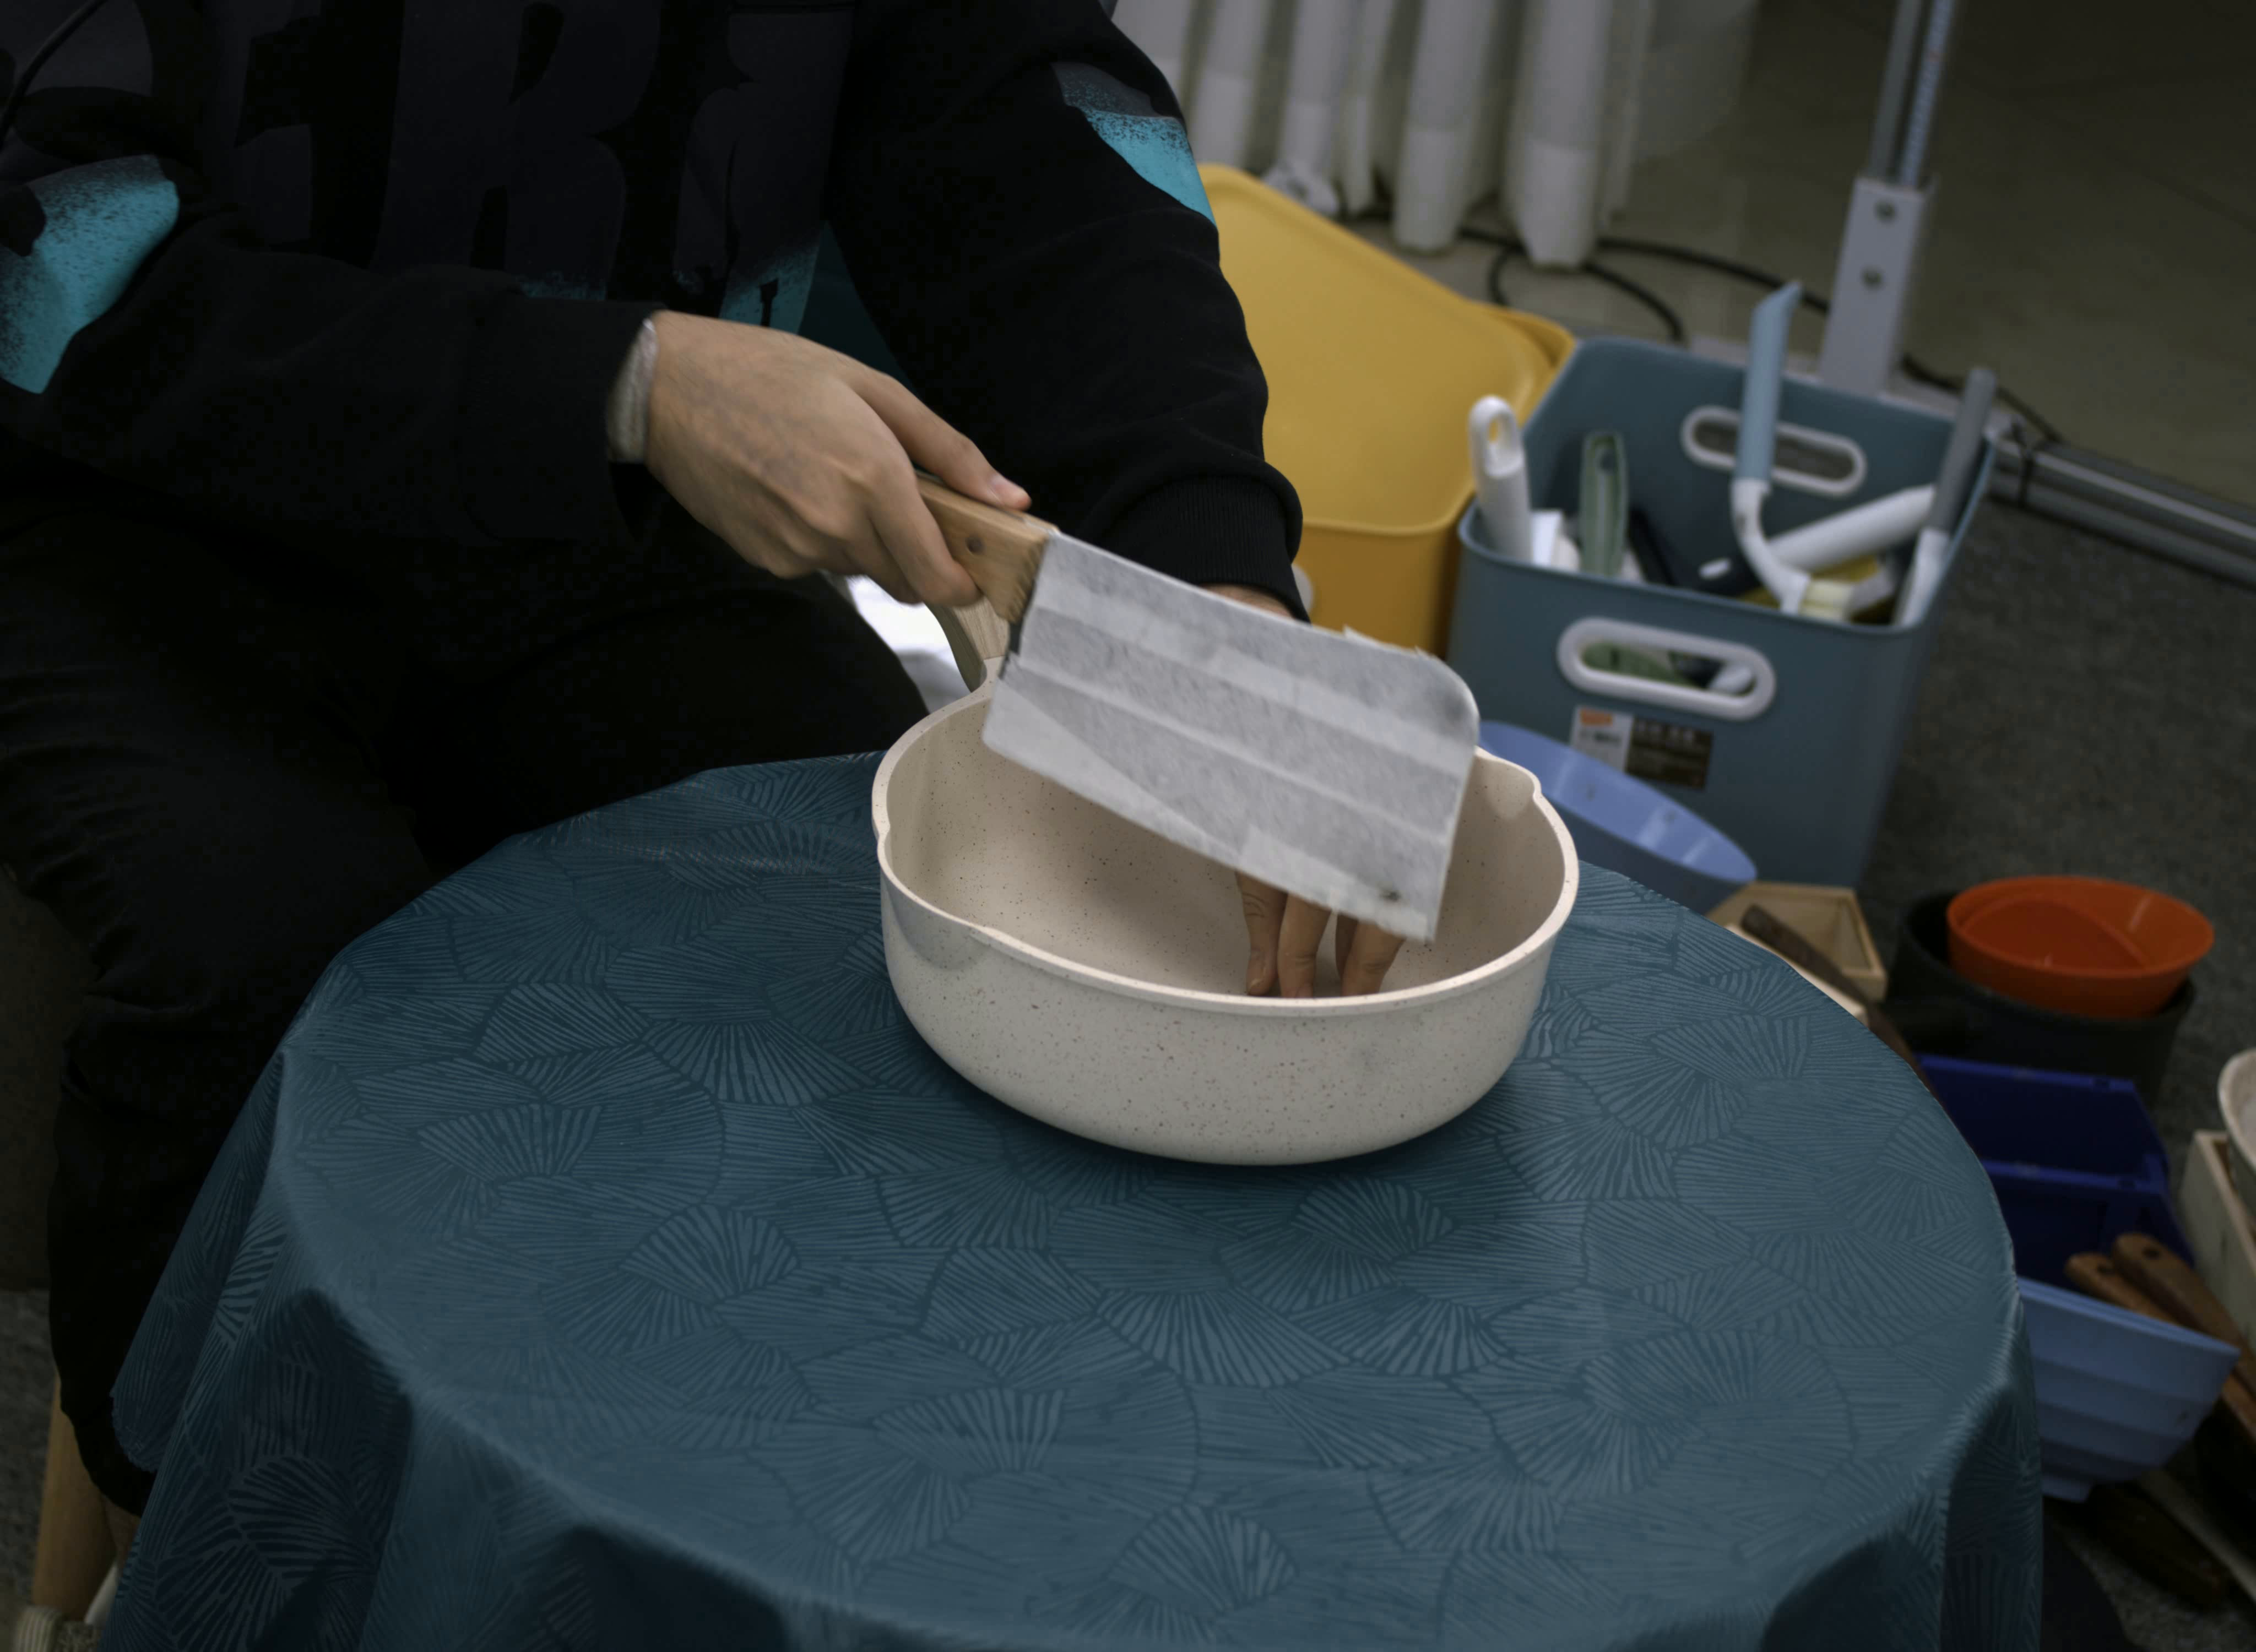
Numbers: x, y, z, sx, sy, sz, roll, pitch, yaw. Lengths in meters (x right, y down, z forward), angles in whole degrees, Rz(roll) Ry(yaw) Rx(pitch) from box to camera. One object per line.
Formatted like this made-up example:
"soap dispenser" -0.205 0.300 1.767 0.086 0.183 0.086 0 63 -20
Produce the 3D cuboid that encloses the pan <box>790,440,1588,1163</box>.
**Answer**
"pan" -0.013 -0.012 1.958 0.262 0.101 0.439 -13 33 -29

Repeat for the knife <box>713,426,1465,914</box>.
"knife" -0.016 -0.069 1.879 0.317 0.114 0.021 27 23 21
